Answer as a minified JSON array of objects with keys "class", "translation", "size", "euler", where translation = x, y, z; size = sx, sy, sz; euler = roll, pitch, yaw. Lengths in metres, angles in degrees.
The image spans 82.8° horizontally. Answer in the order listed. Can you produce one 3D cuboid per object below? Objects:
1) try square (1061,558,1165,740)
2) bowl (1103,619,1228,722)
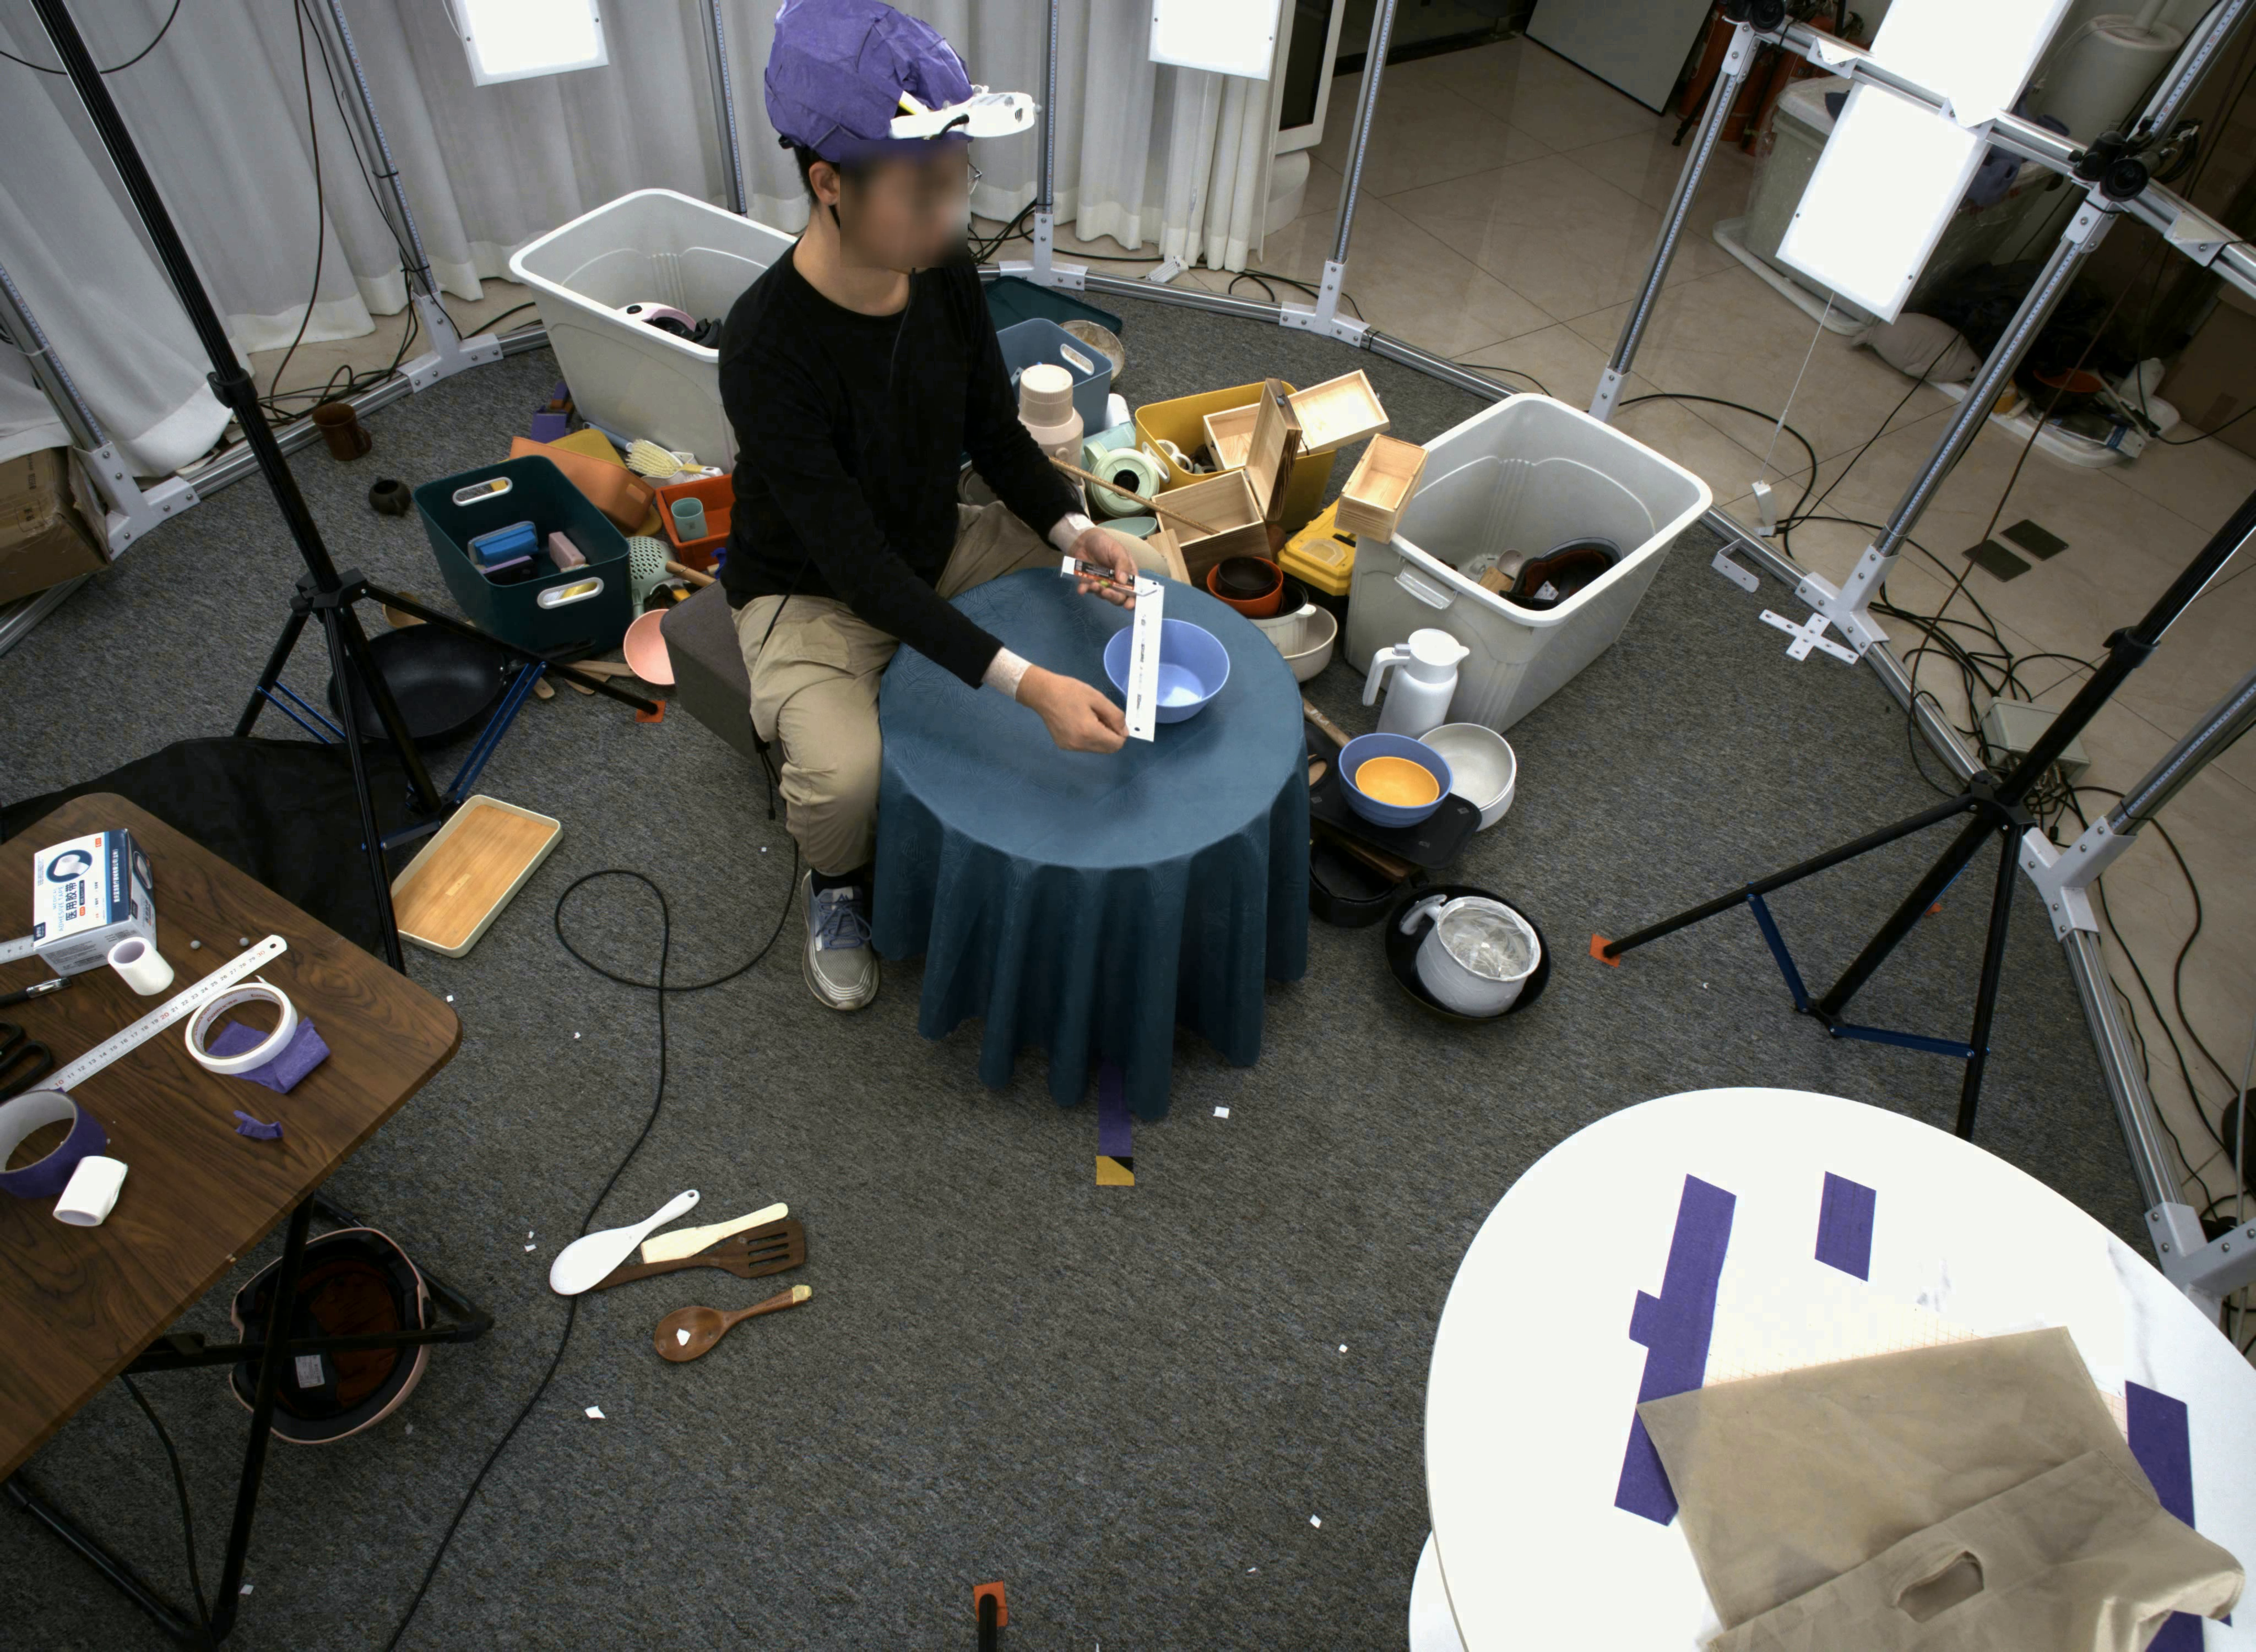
[{"class":"try square","translation":[-0.029,-0.247,1.754],"size":[0.152,0.015,0.320],"euler":[11,49,-7]},{"class":"bowl","translation":[0.051,-0.211,1.811],"size":[0.176,0.068,0.180],"euler":[2,50,-2]}]
